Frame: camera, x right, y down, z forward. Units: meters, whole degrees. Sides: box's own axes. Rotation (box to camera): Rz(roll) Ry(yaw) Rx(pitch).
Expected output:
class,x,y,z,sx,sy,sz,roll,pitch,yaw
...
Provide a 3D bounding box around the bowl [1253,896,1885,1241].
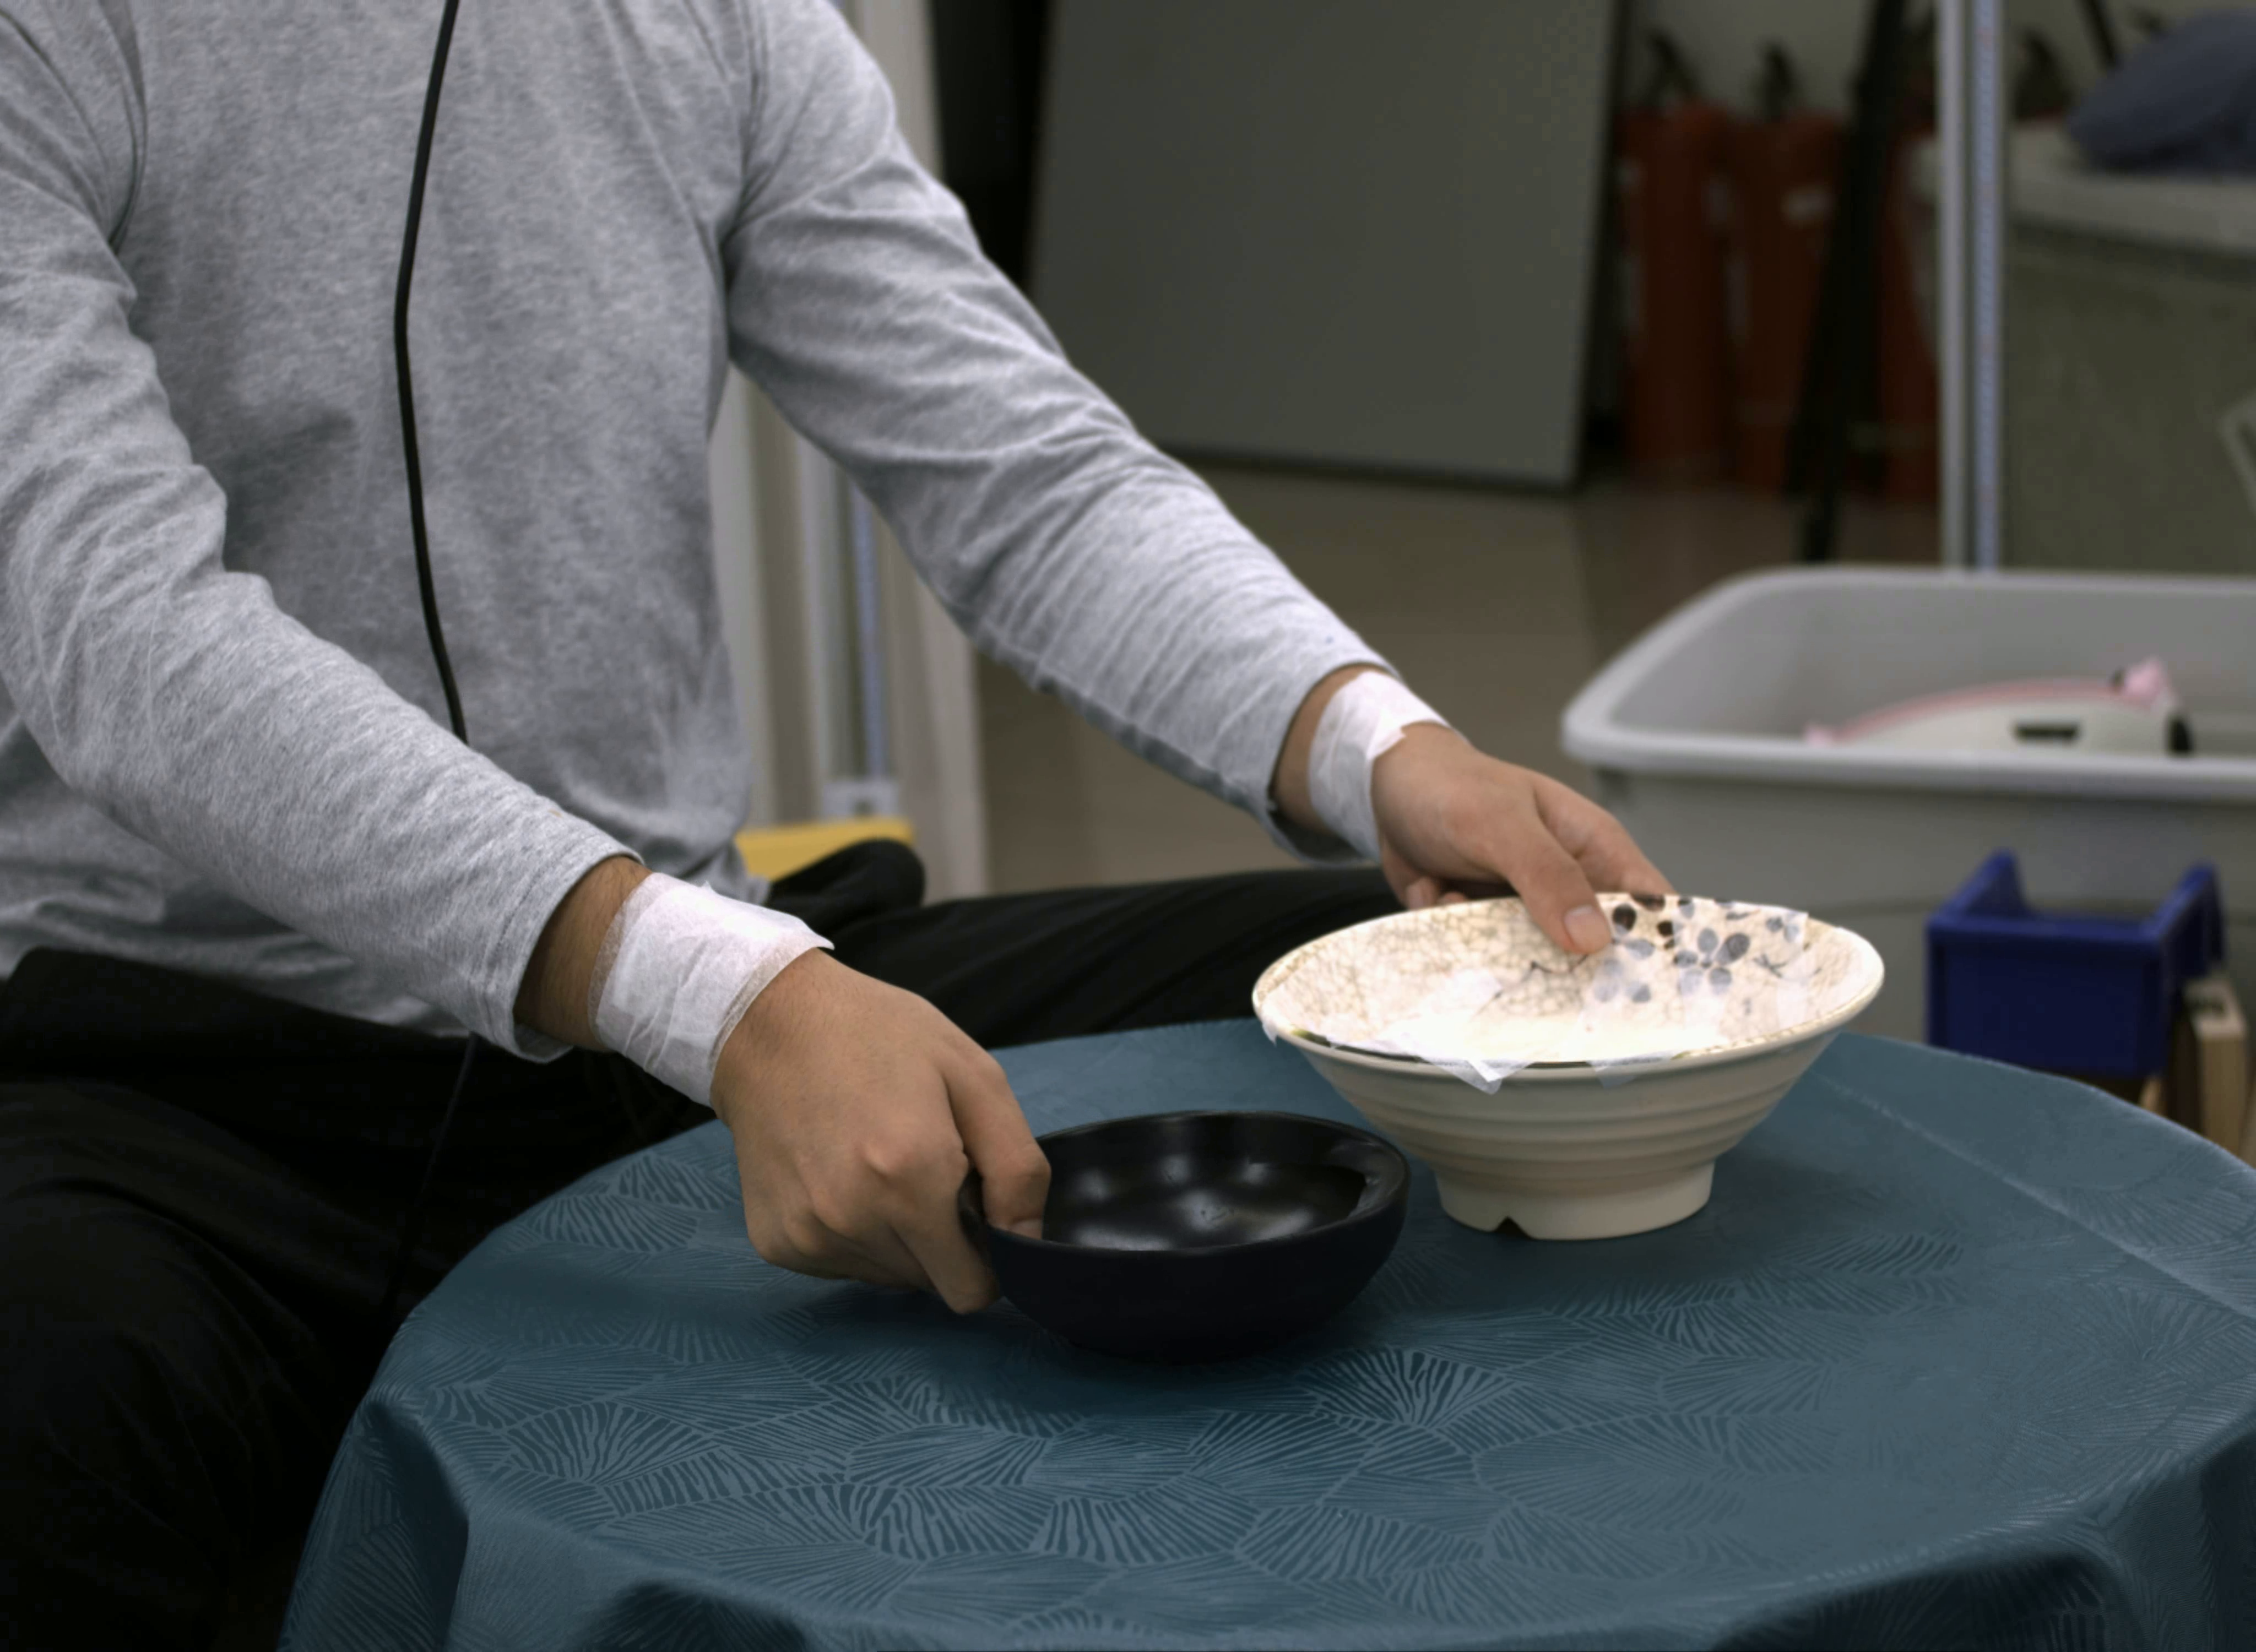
class,x,y,z,sx,sy,sz,roll,pitch,yaw
bowl,0.142,0.083,1.723,0.201,0.079,0.204,-4,12,0

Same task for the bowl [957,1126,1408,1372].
class,x,y,z,sx,sy,sz,roll,pitch,yaw
bowl,0.018,0.131,1.632,0.138,0.050,0.140,-4,10,0
